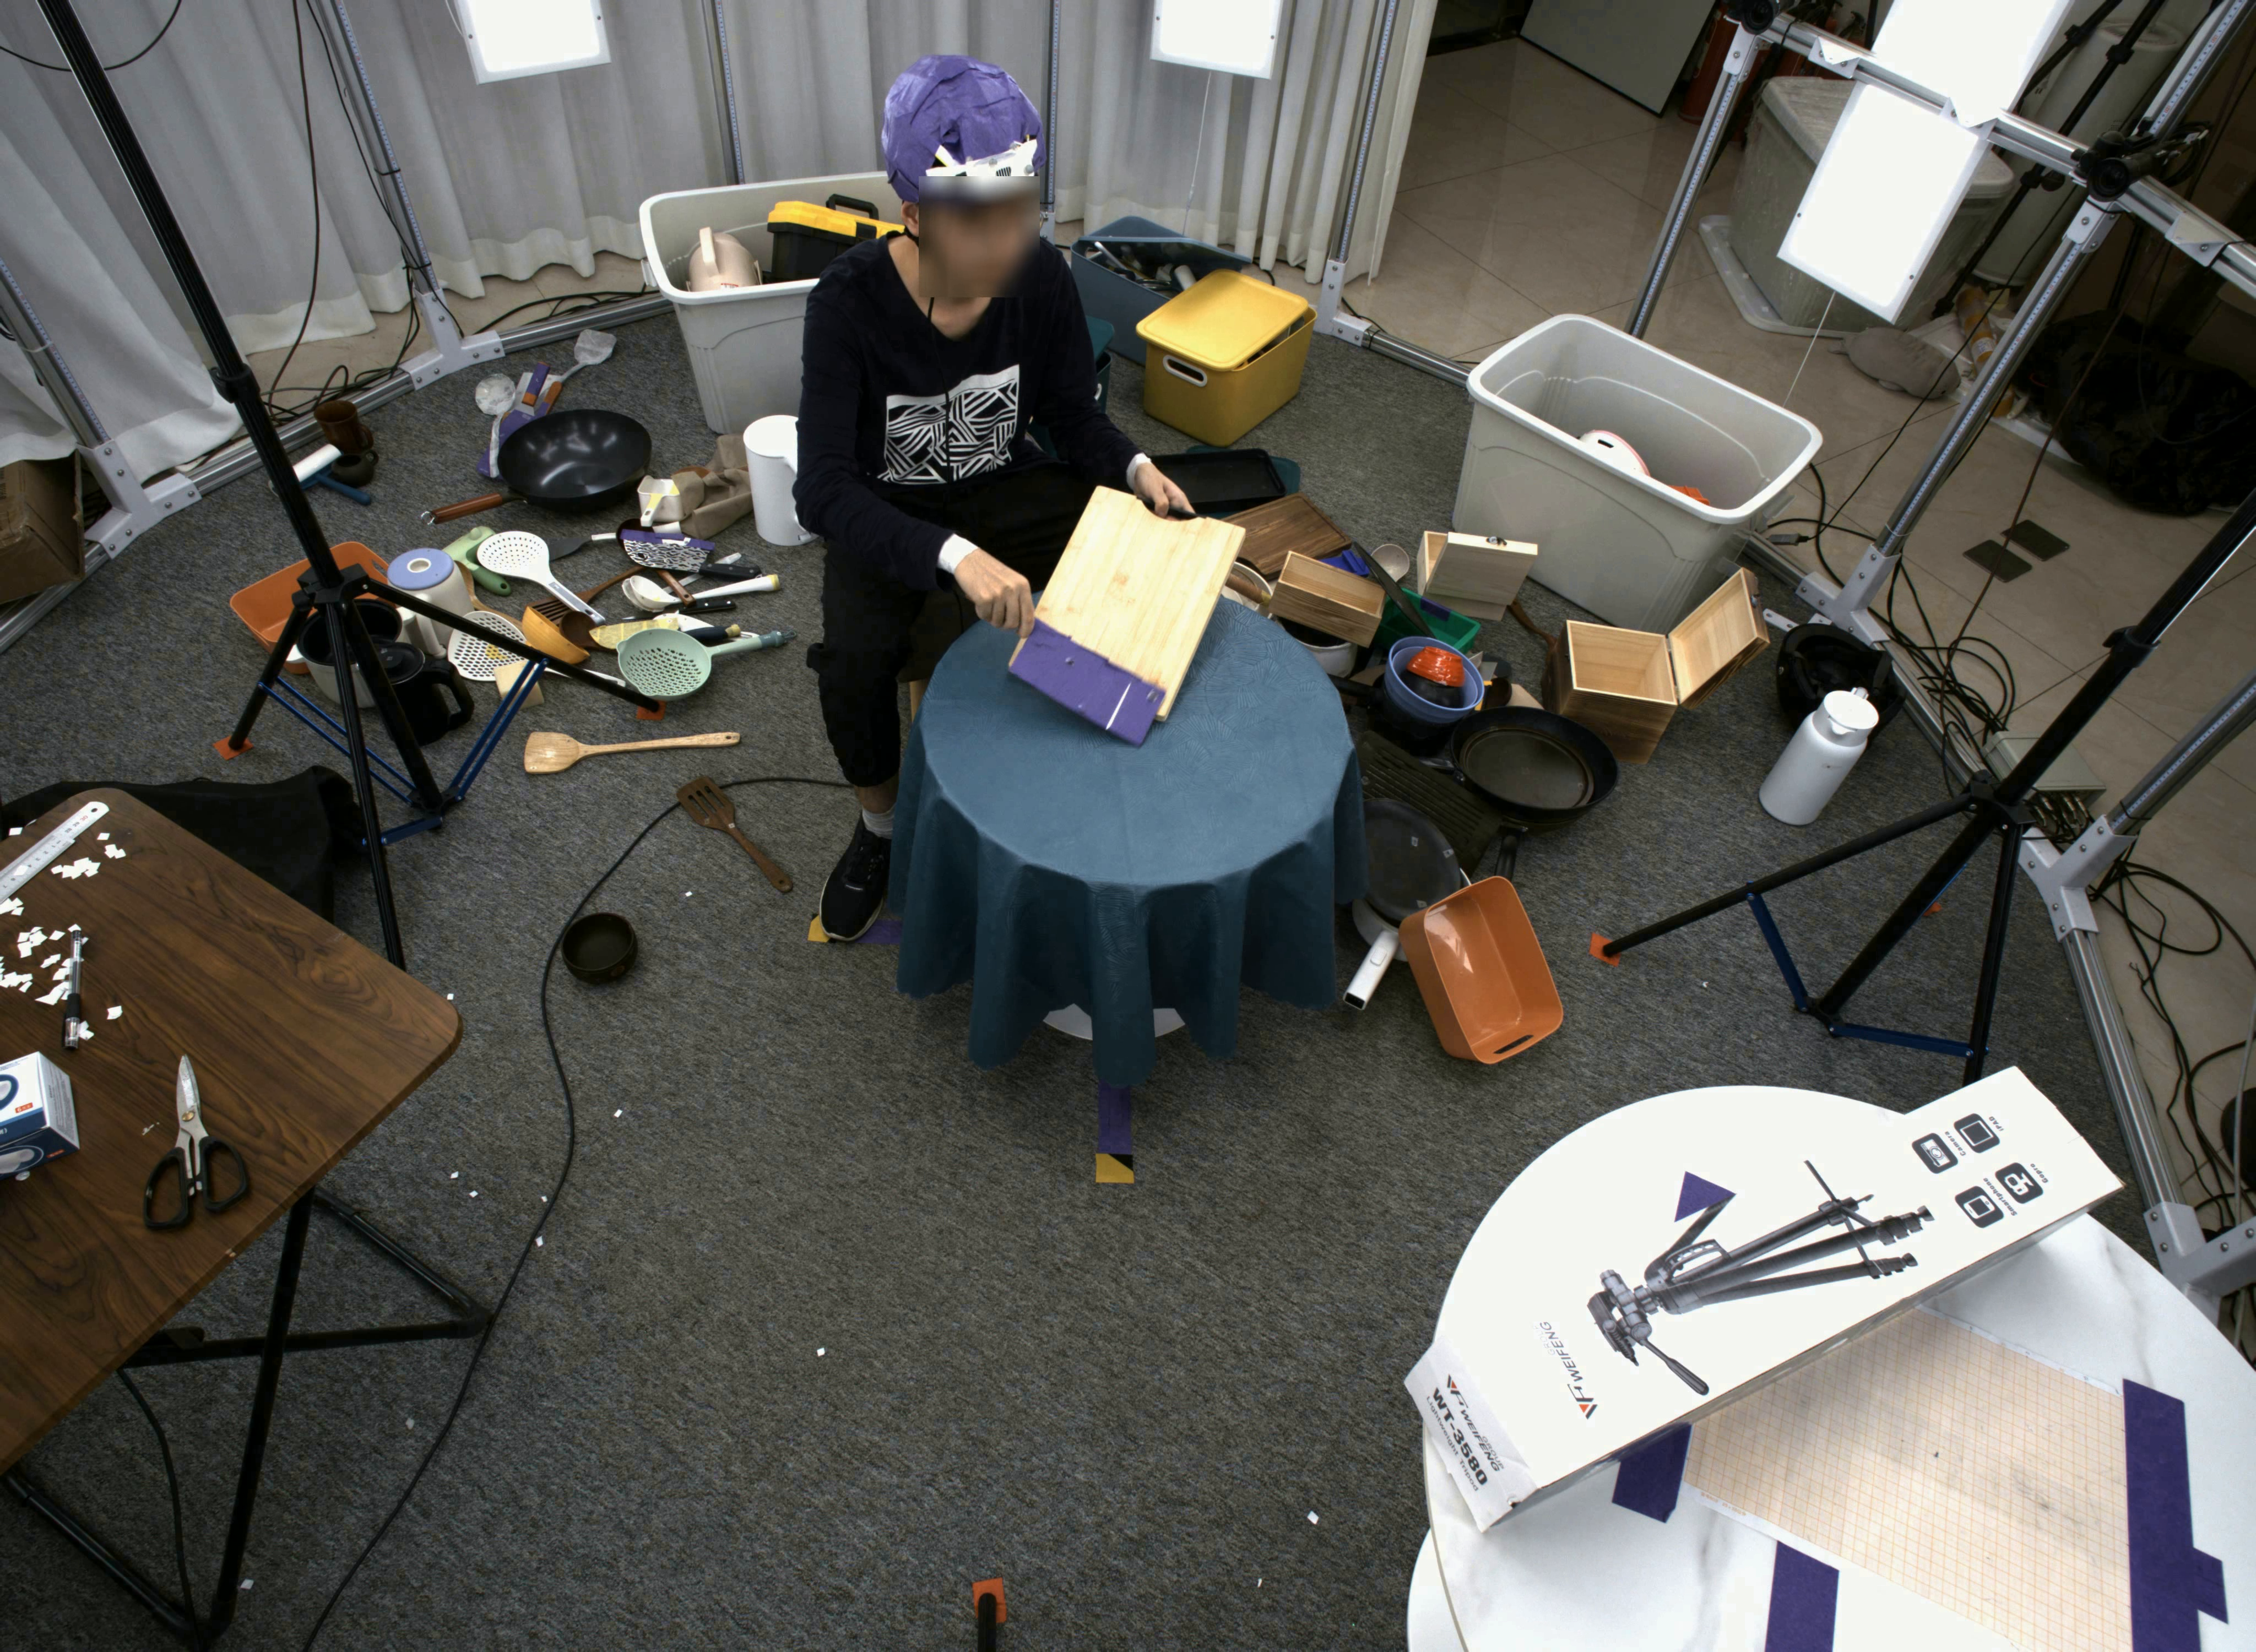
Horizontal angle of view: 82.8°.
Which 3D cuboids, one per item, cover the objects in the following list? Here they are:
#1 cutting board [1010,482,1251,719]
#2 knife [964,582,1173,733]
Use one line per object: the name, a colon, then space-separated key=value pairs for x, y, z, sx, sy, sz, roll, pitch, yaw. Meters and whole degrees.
cutting board: x=0.006 y=-0.337 z=1.885 sx=0.252 sy=0.023 sz=0.354 roll=18 pitch=67 yaw=12
knife: x=-0.093 y=-0.230 z=1.771 sx=0.315 sy=0.032 sz=0.105 roll=27 pitch=68 yaw=-1
